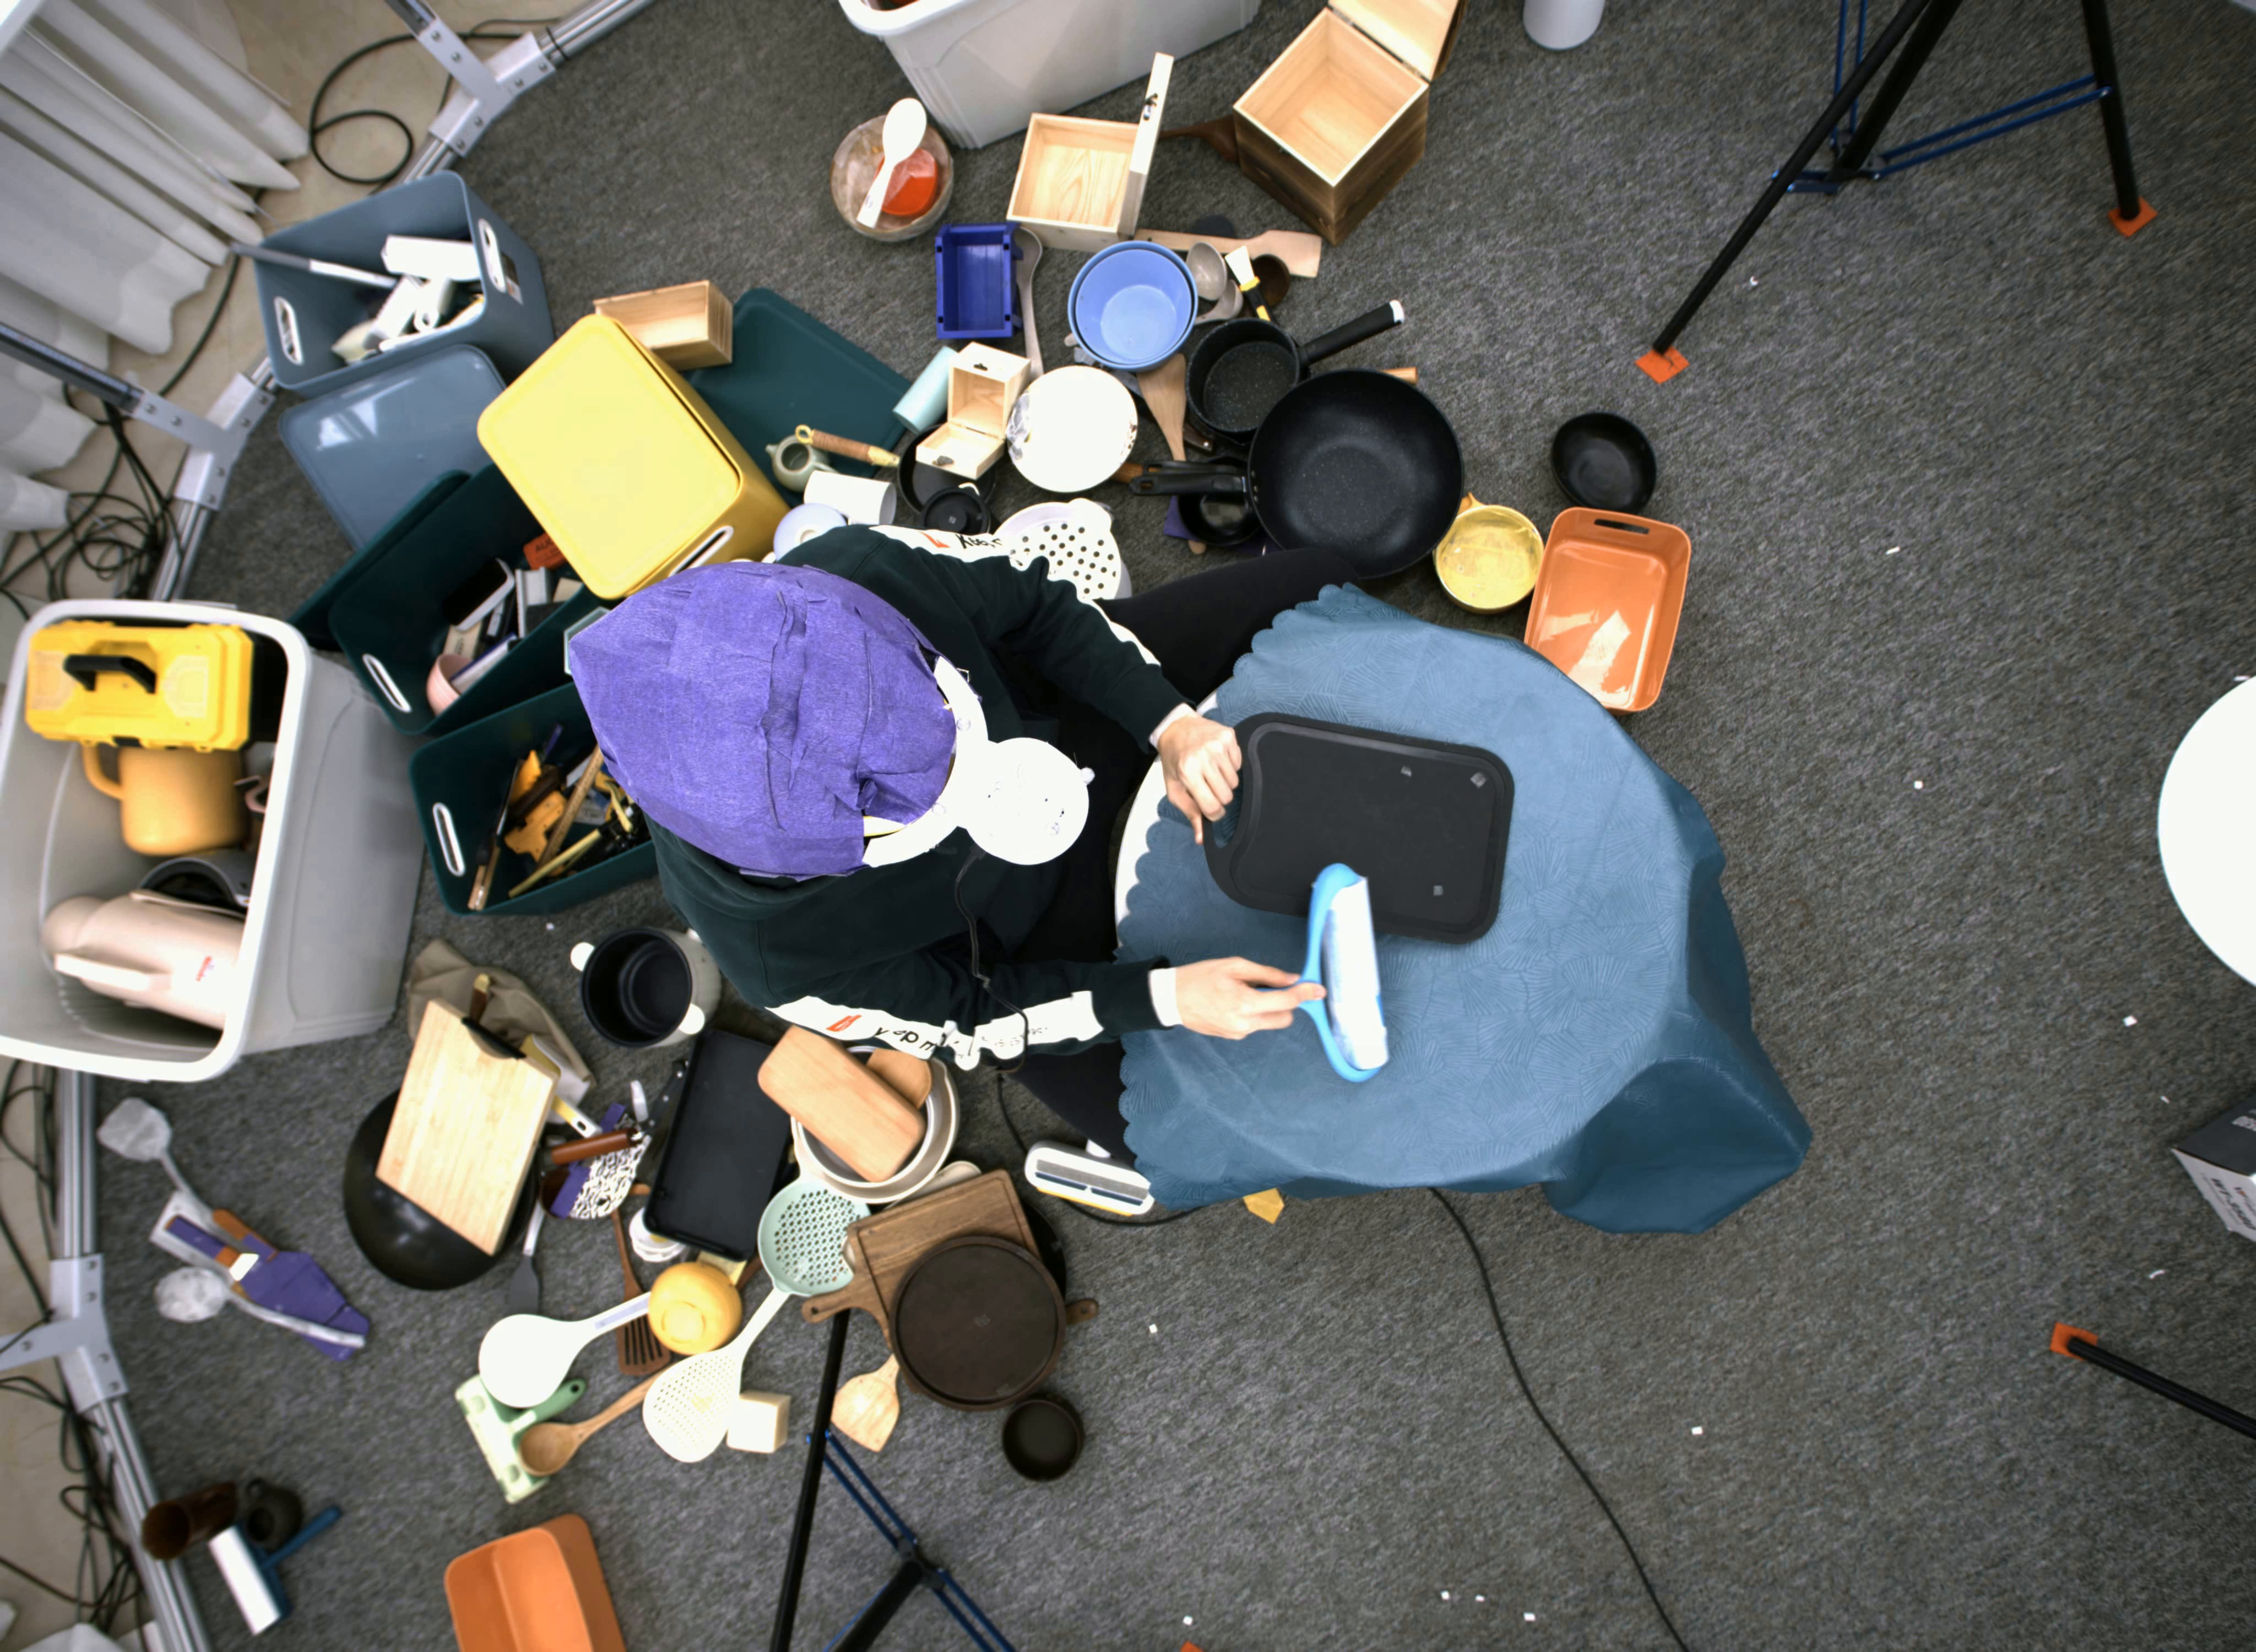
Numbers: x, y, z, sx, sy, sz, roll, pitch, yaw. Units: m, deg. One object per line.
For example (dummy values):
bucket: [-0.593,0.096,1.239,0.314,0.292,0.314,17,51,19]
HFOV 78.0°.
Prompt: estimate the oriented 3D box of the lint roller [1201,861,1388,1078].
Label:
lint roller: [0.168,0.160,1.391,0.179,0.067,0.232,-15,108,-10]

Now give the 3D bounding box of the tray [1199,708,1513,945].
tray: [0.235,-0.002,1.423,0.326,0.010,0.209,10,84,-3]
